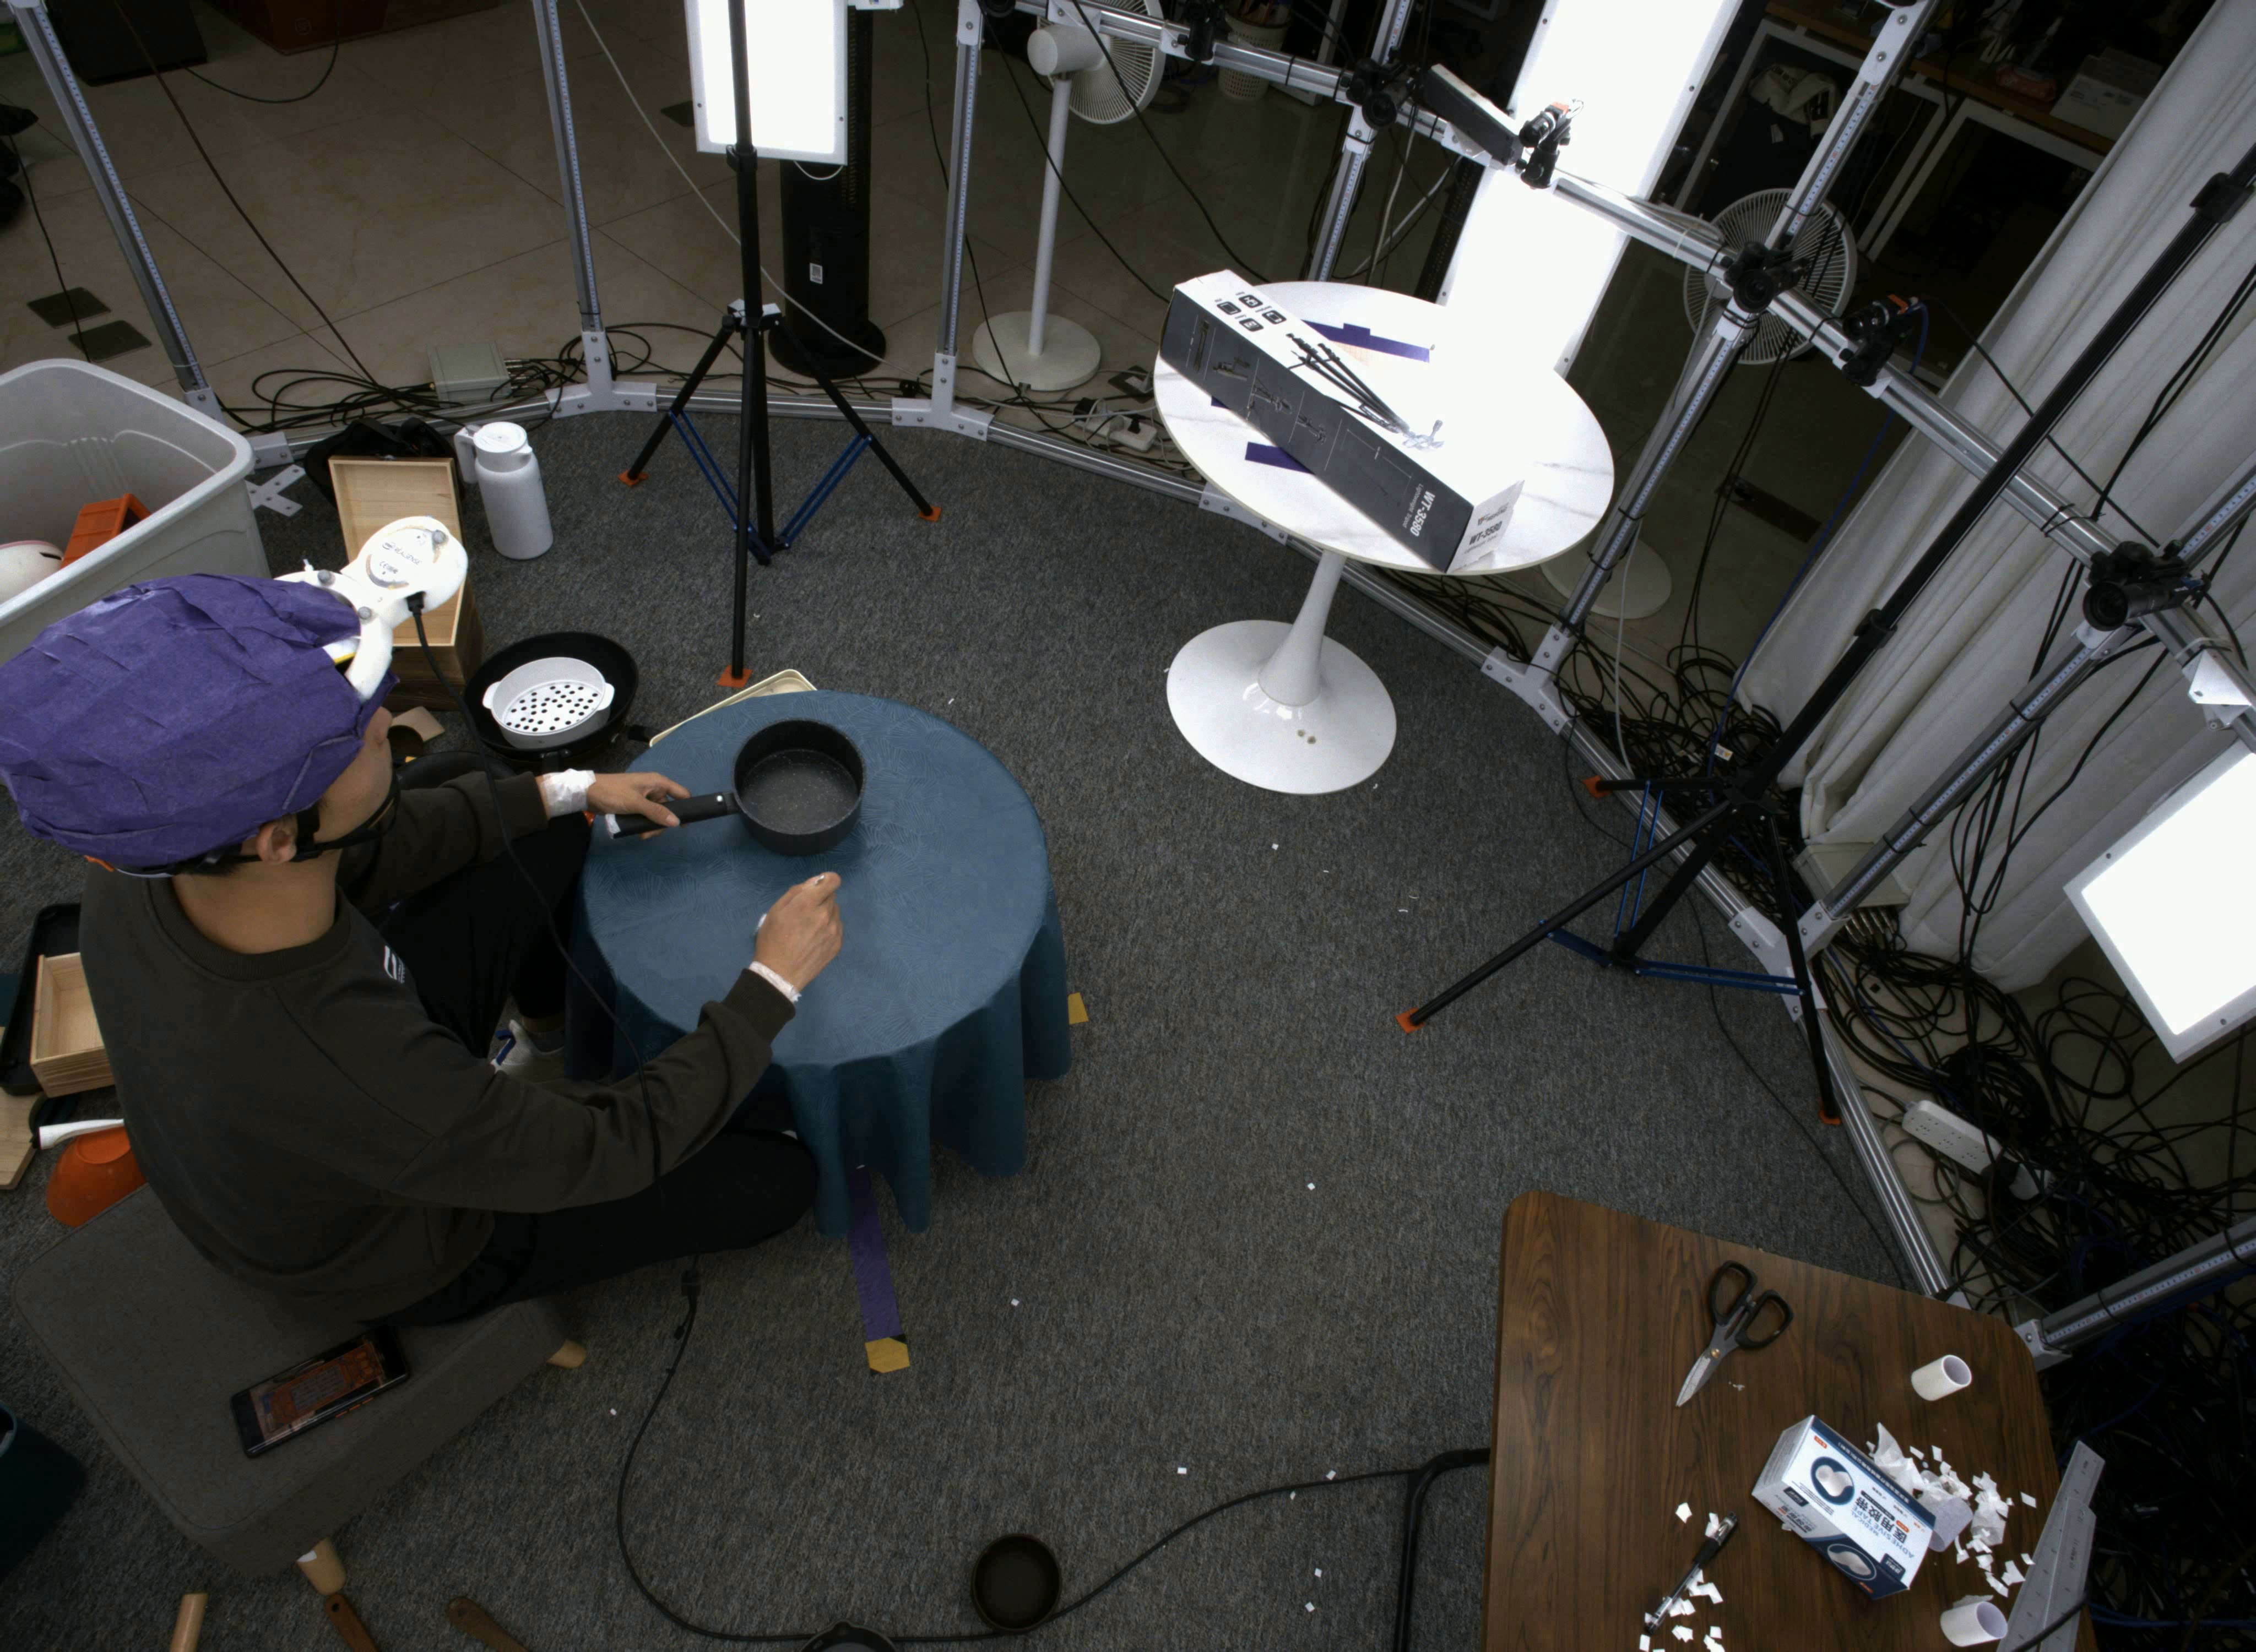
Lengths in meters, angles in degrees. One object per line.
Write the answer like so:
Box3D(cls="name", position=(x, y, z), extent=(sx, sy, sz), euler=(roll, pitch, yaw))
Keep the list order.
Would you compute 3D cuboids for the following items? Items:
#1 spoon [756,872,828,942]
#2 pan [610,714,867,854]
Box3D(cls="spoon", position=(-0.395, 0.080, 1.523), extent=(0.059, 0.278, 0.100), euler=(46, 67, 4))
Box3D(cls="pan", position=(-0.501, -0.034, 1.669), extent=(0.330, 0.087, 0.169), euler=(-14, 68, -23))
